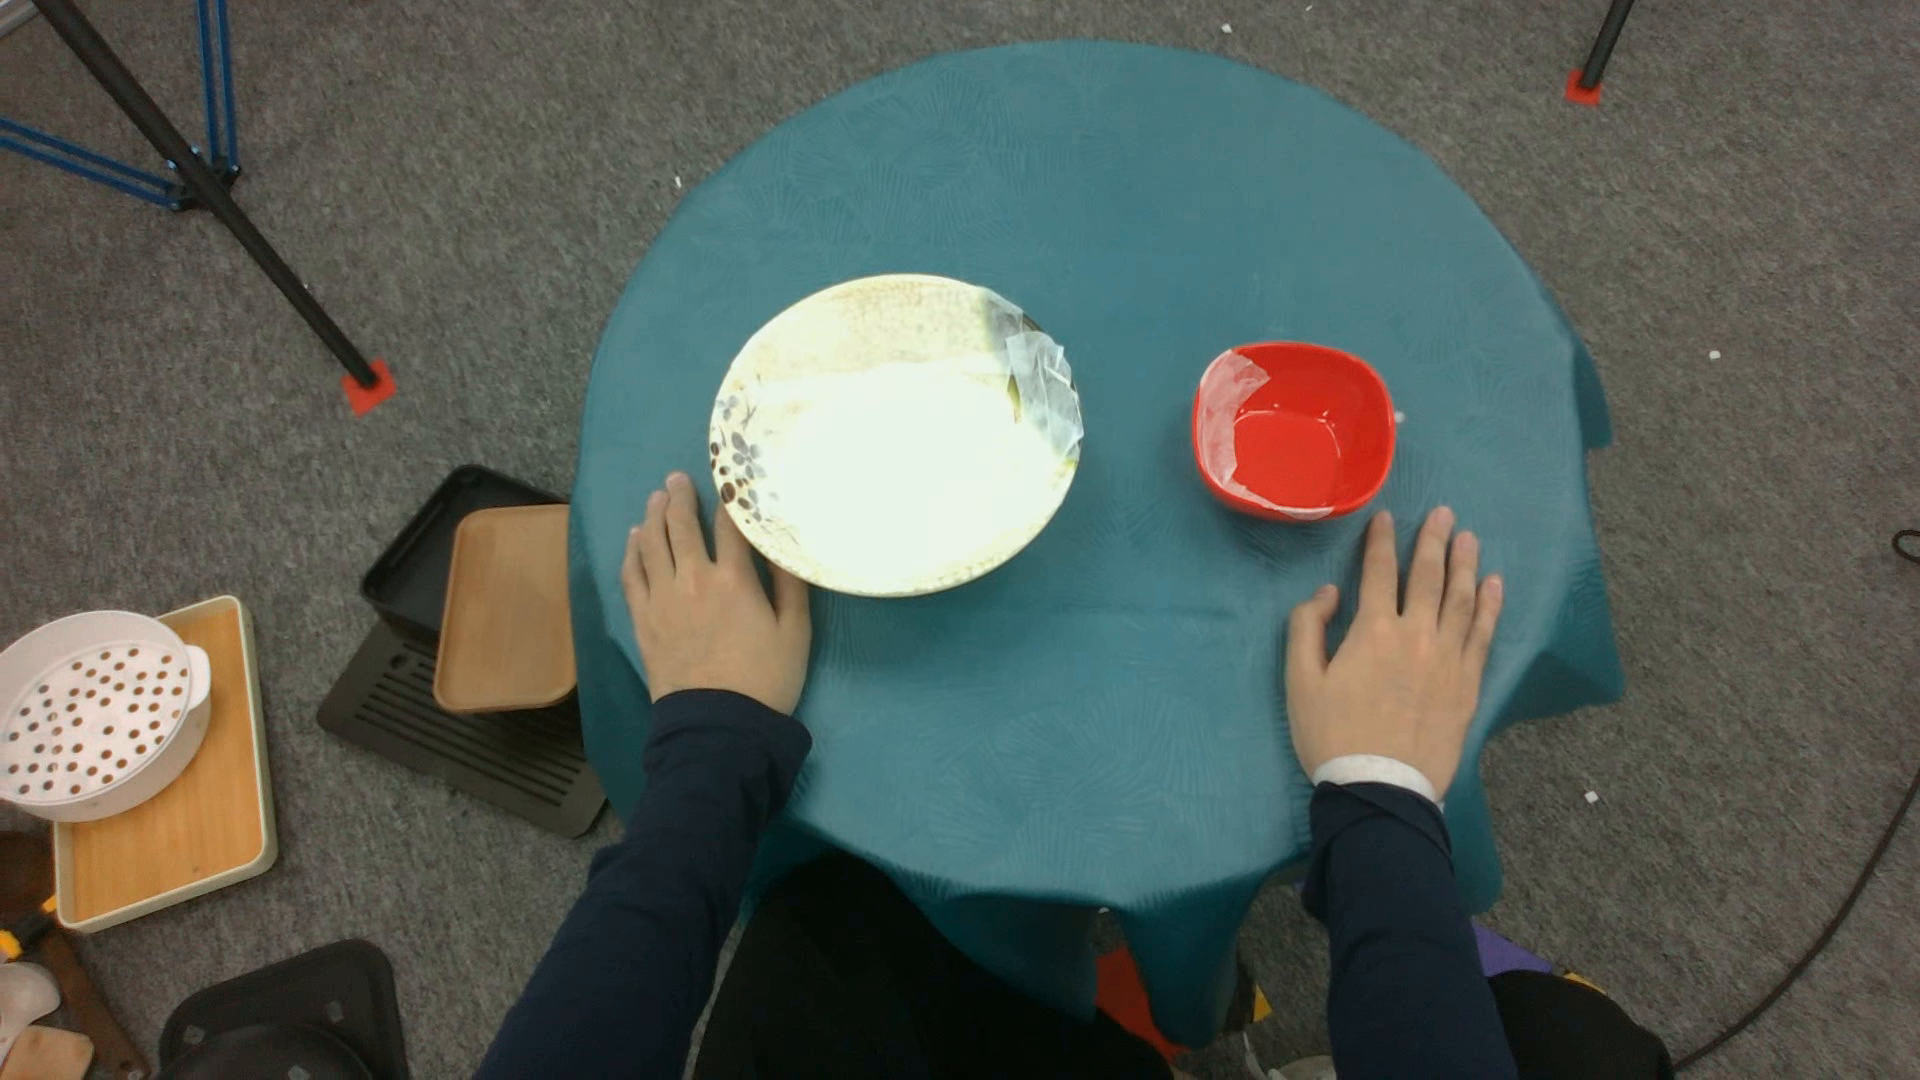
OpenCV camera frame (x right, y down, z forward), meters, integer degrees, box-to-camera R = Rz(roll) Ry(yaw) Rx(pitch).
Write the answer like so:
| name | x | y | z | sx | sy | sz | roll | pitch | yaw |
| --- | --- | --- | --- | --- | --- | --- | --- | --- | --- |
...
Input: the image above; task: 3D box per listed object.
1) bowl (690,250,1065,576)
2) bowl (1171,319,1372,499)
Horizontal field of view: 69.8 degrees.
| name | x | y | z | sx | sy | sz | roll | pitch | yaw |
| --- | --- | --- | --- | --- | --- | --- | --- | --- | --- |
| bowl | -0.043 | -0.059 | 0.776 | 0.204 | 0.077 | 0.205 | -1 | 65 | 3 |
| bowl | 0.173 | -0.066 | 0.783 | 0.119 | 0.051 | 0.119 | 0 | 64 | 1 |
